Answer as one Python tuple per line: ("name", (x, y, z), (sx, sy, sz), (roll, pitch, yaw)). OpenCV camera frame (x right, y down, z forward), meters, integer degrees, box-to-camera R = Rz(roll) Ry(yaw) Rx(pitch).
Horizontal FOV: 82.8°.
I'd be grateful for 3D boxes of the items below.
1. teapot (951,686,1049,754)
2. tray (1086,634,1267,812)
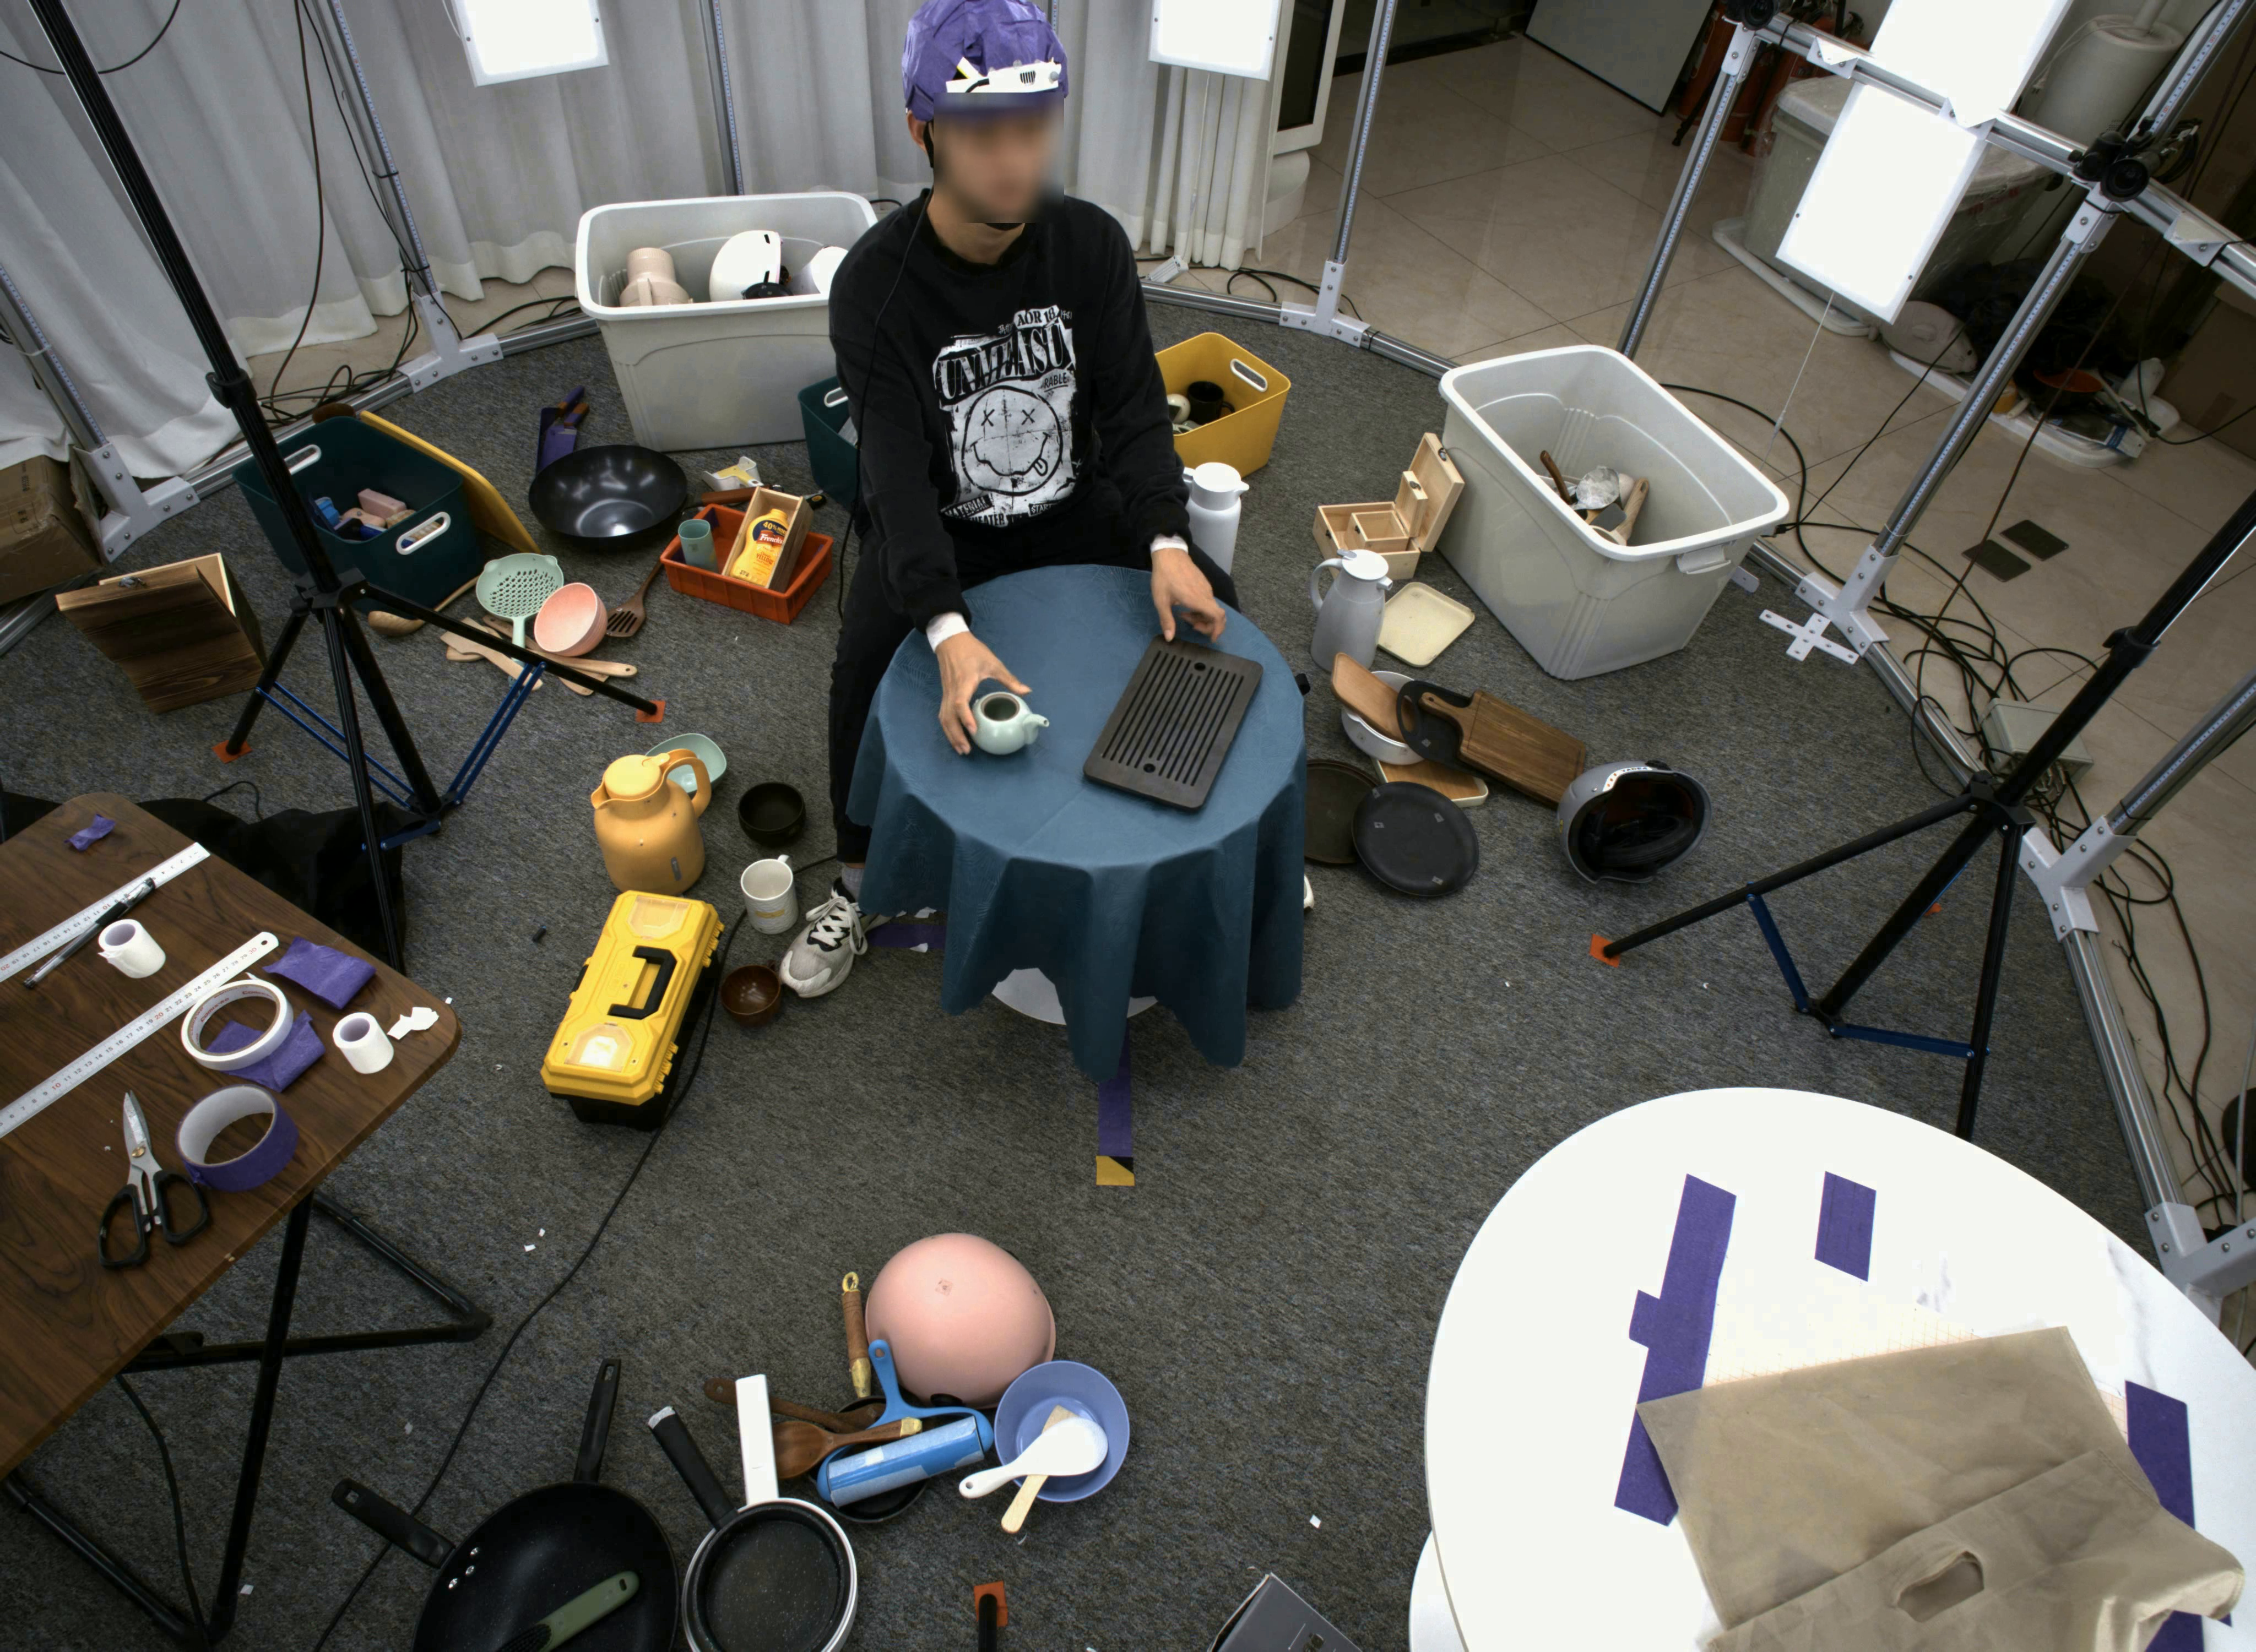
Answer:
("teapot", (-0.172, -0.140, 1.733), (0.144, 0.073, 0.090), (23, 52, 13))
("tray", (0.072, -0.148, 1.790), (0.171, 0.018, 0.312), (17, 50, 12))
